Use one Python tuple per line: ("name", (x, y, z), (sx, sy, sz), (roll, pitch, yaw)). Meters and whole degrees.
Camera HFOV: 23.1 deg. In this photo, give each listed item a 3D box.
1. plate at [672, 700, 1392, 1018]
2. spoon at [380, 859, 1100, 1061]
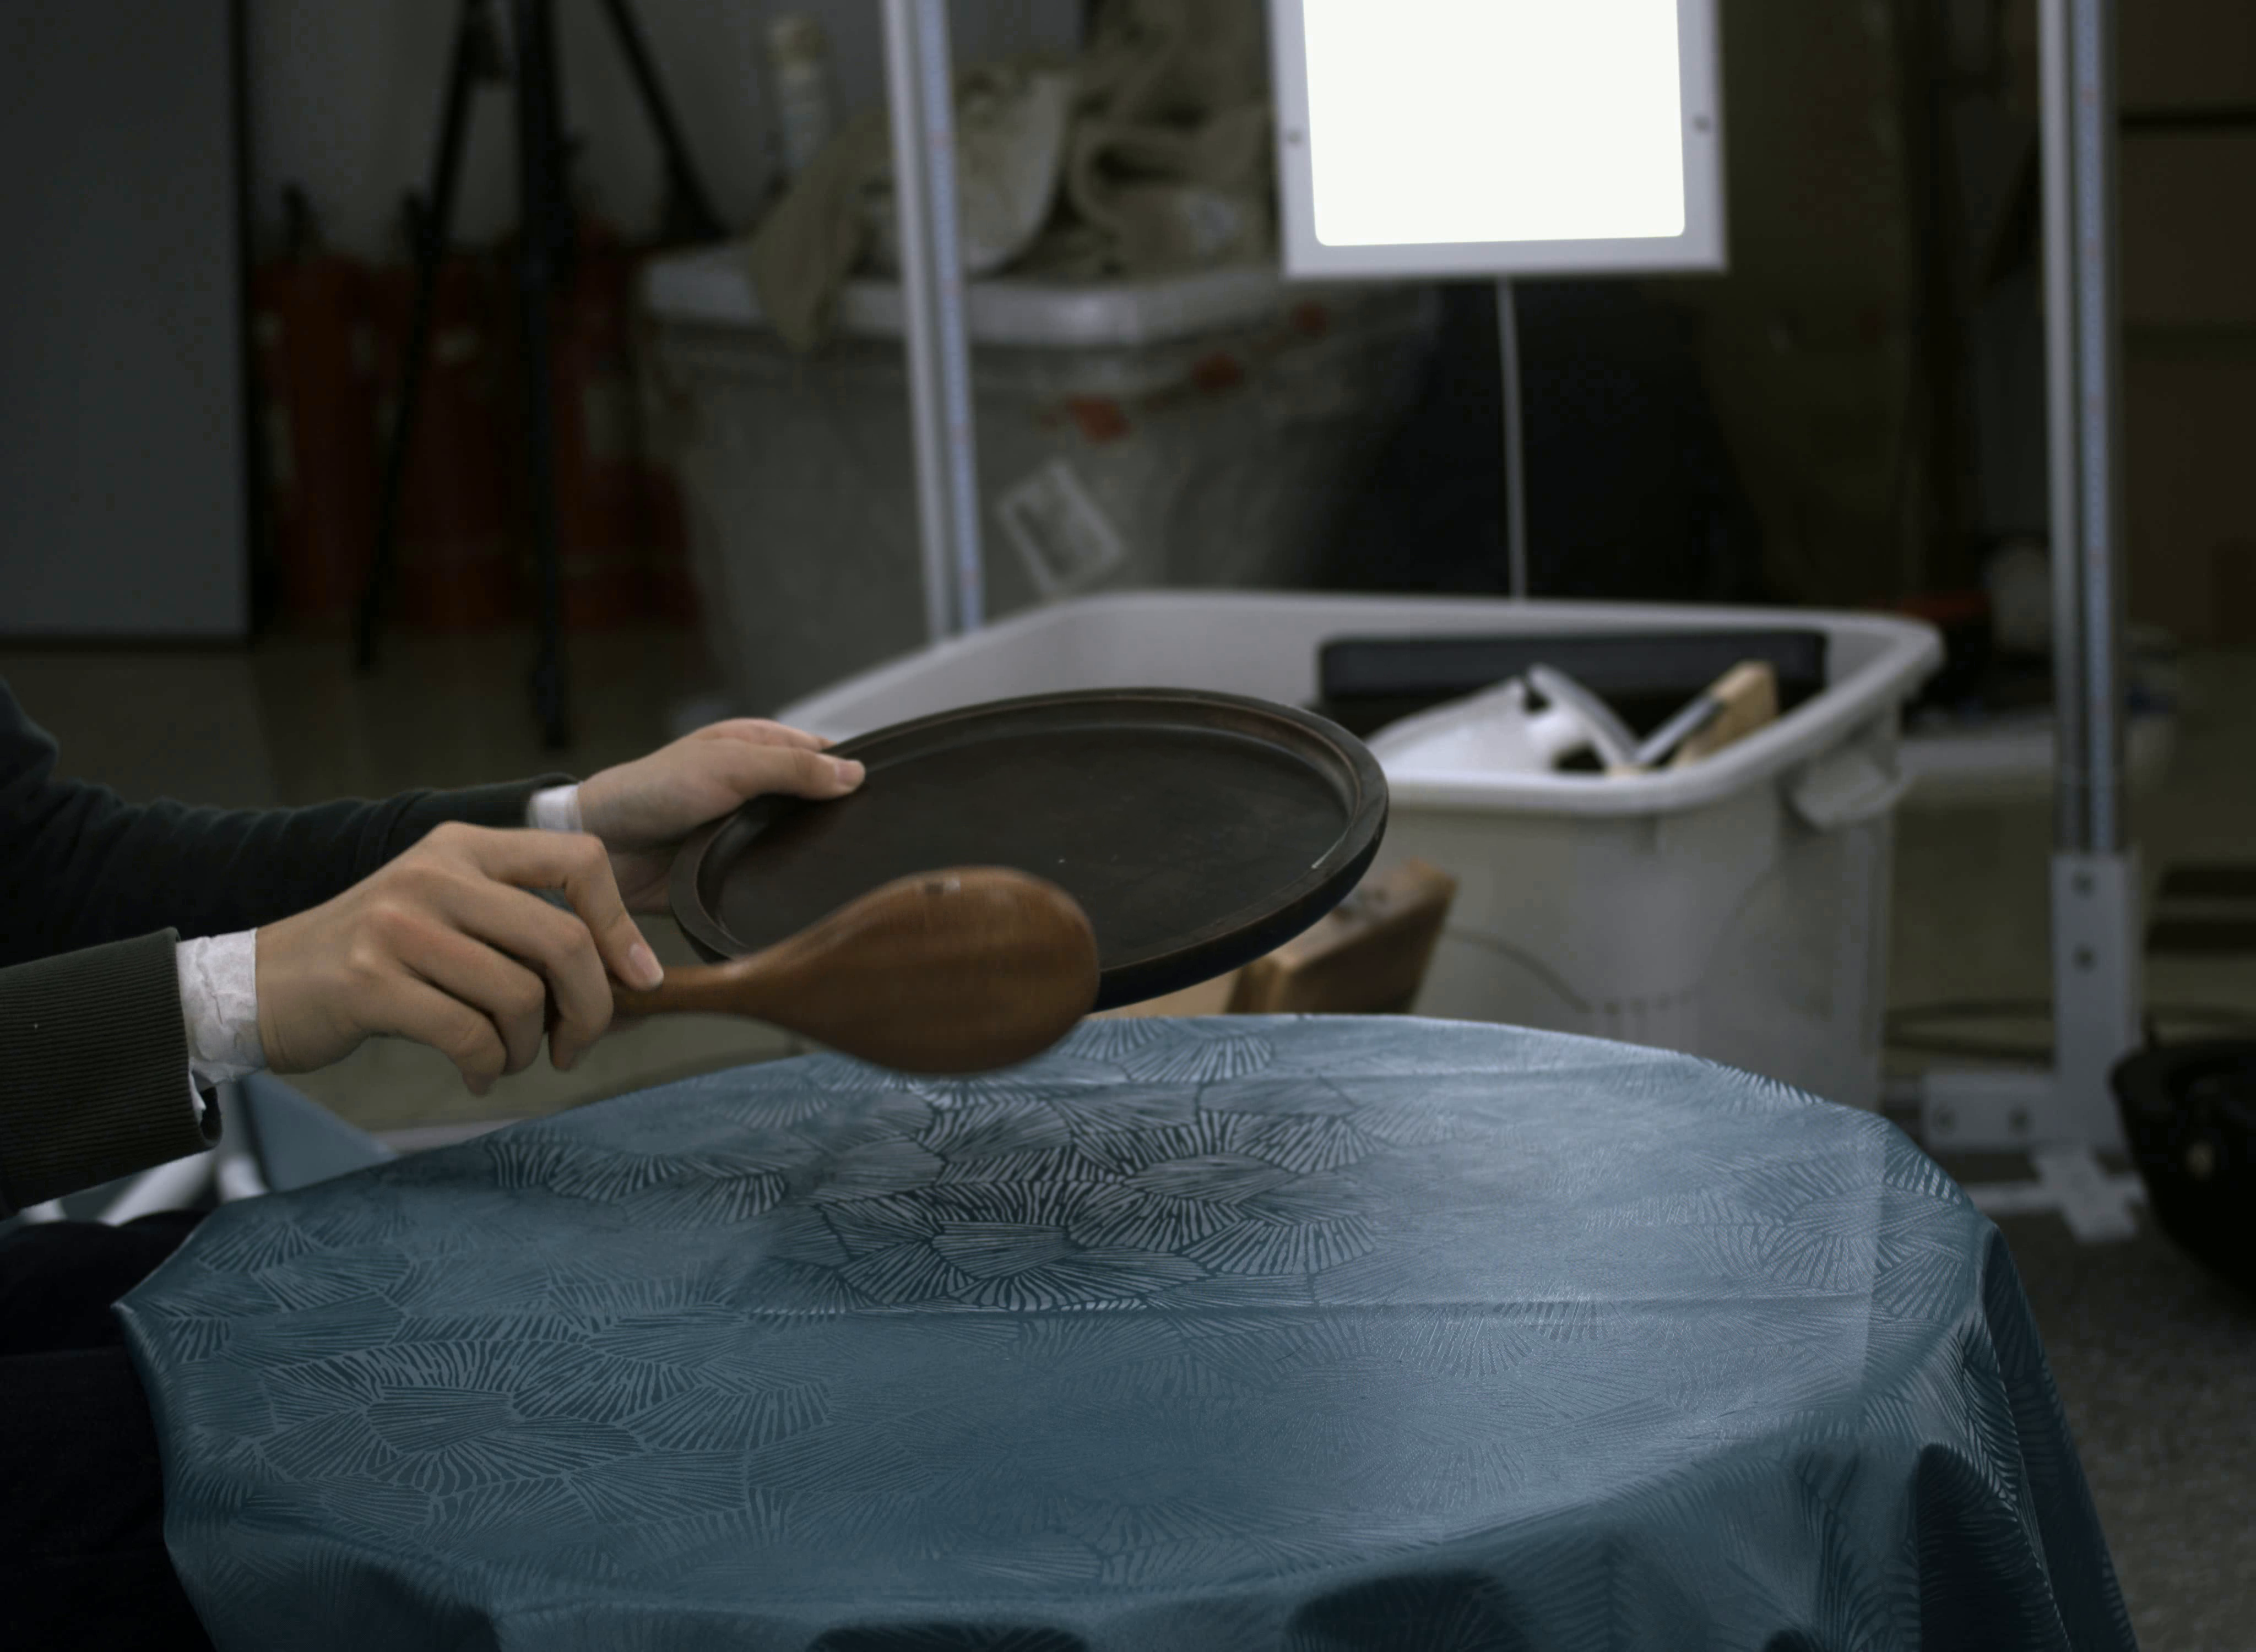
("plate", (-0.033, 0.011, 1.911), (0.254, 0.029, 0.254), (-8, 22, 2))
("spoon", (-0.114, 0.045, 1.639), (0.214, 0.076, 0.017), (-2, 37, -6))
